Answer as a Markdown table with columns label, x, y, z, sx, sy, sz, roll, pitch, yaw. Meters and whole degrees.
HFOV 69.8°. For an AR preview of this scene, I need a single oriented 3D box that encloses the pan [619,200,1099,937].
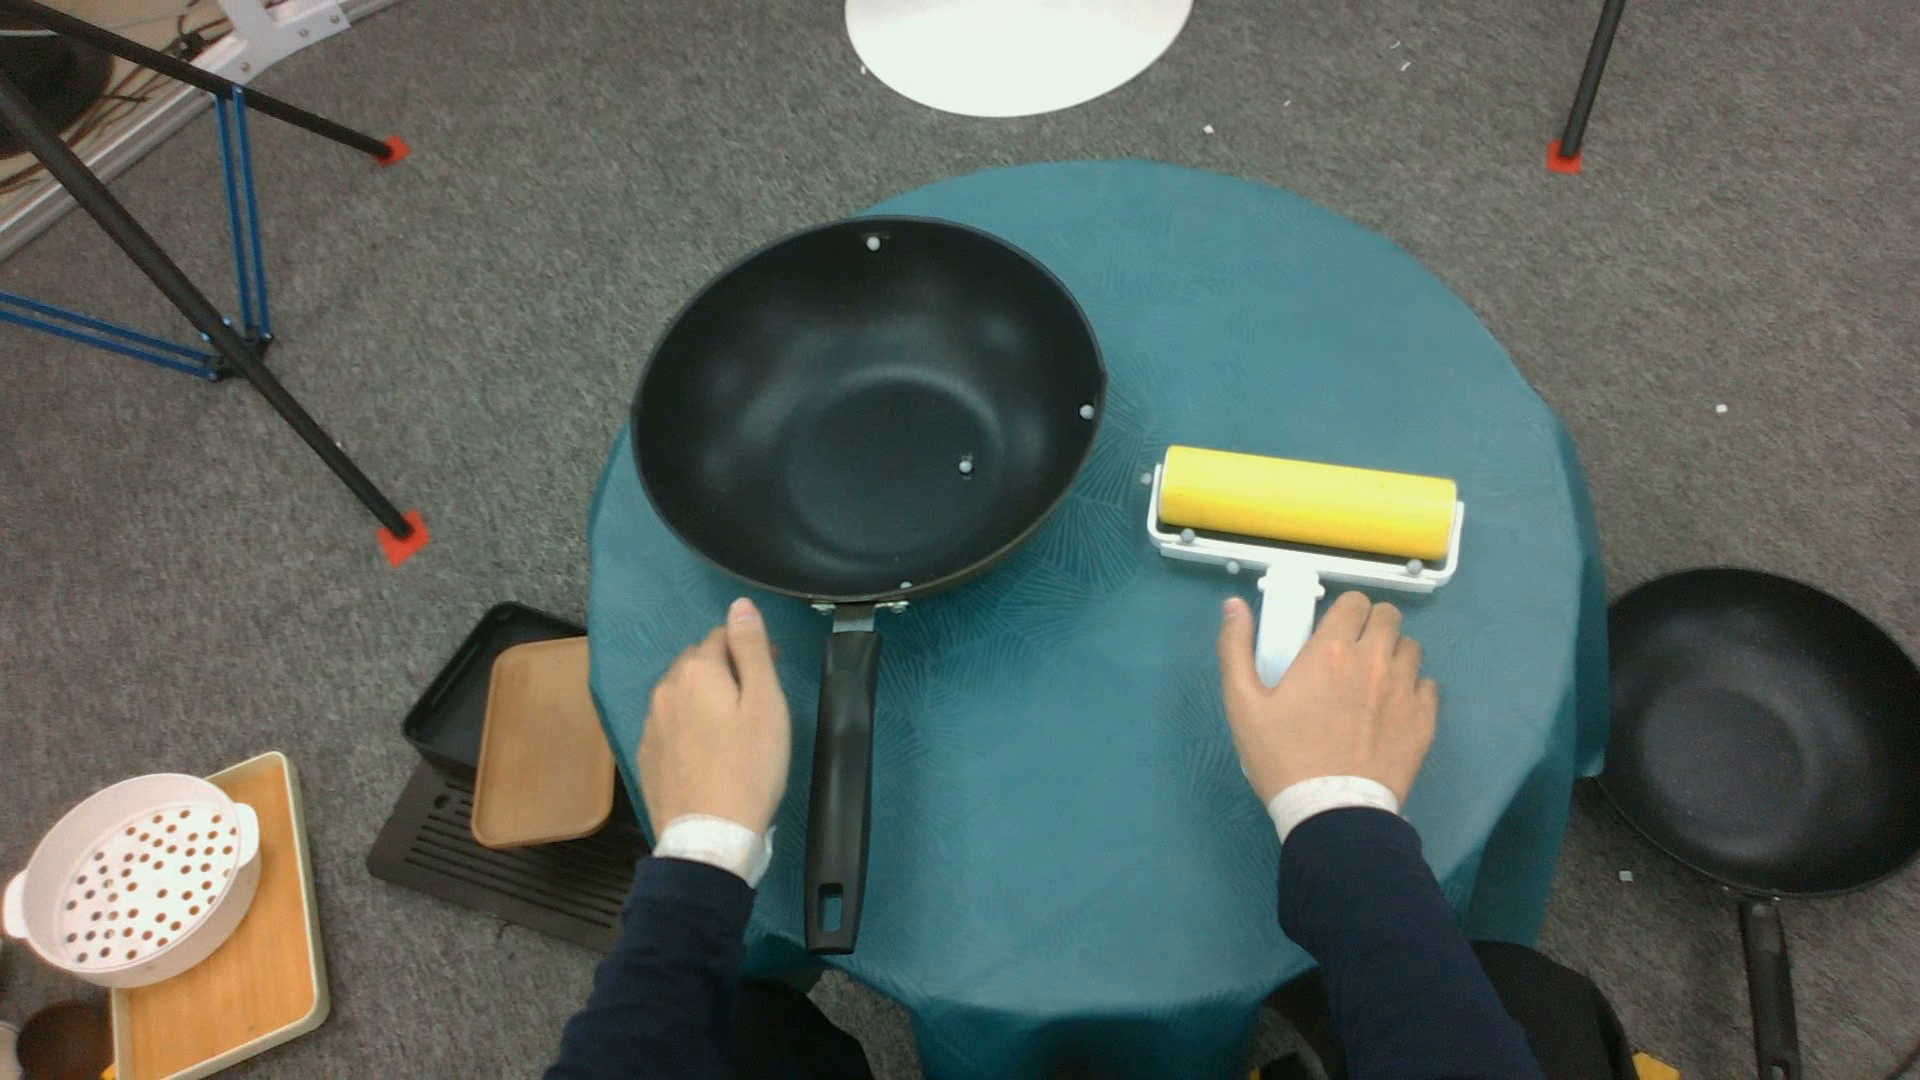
| label | x | y | z | sx | sy | sz | roll | pitch | yaw |
| --- | --- | --- | --- | --- | --- | --- | --- | --- | --- |
| pan | -0.059 | 0.003 | 0.796 | 0.288 | 0.086 | 0.465 | -3 | 59 | 6 |

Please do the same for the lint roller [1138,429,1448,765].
| label | x | y | z | sx | sy | sz | roll | pitch | yaw |
| --- | --- | --- | --- | --- | --- | --- | --- | --- | --- |
| lint roller | 0.180 | 0.028 | 0.770 | 0.174 | 0.051 | 0.193 | 6 | 59 | 12 |
